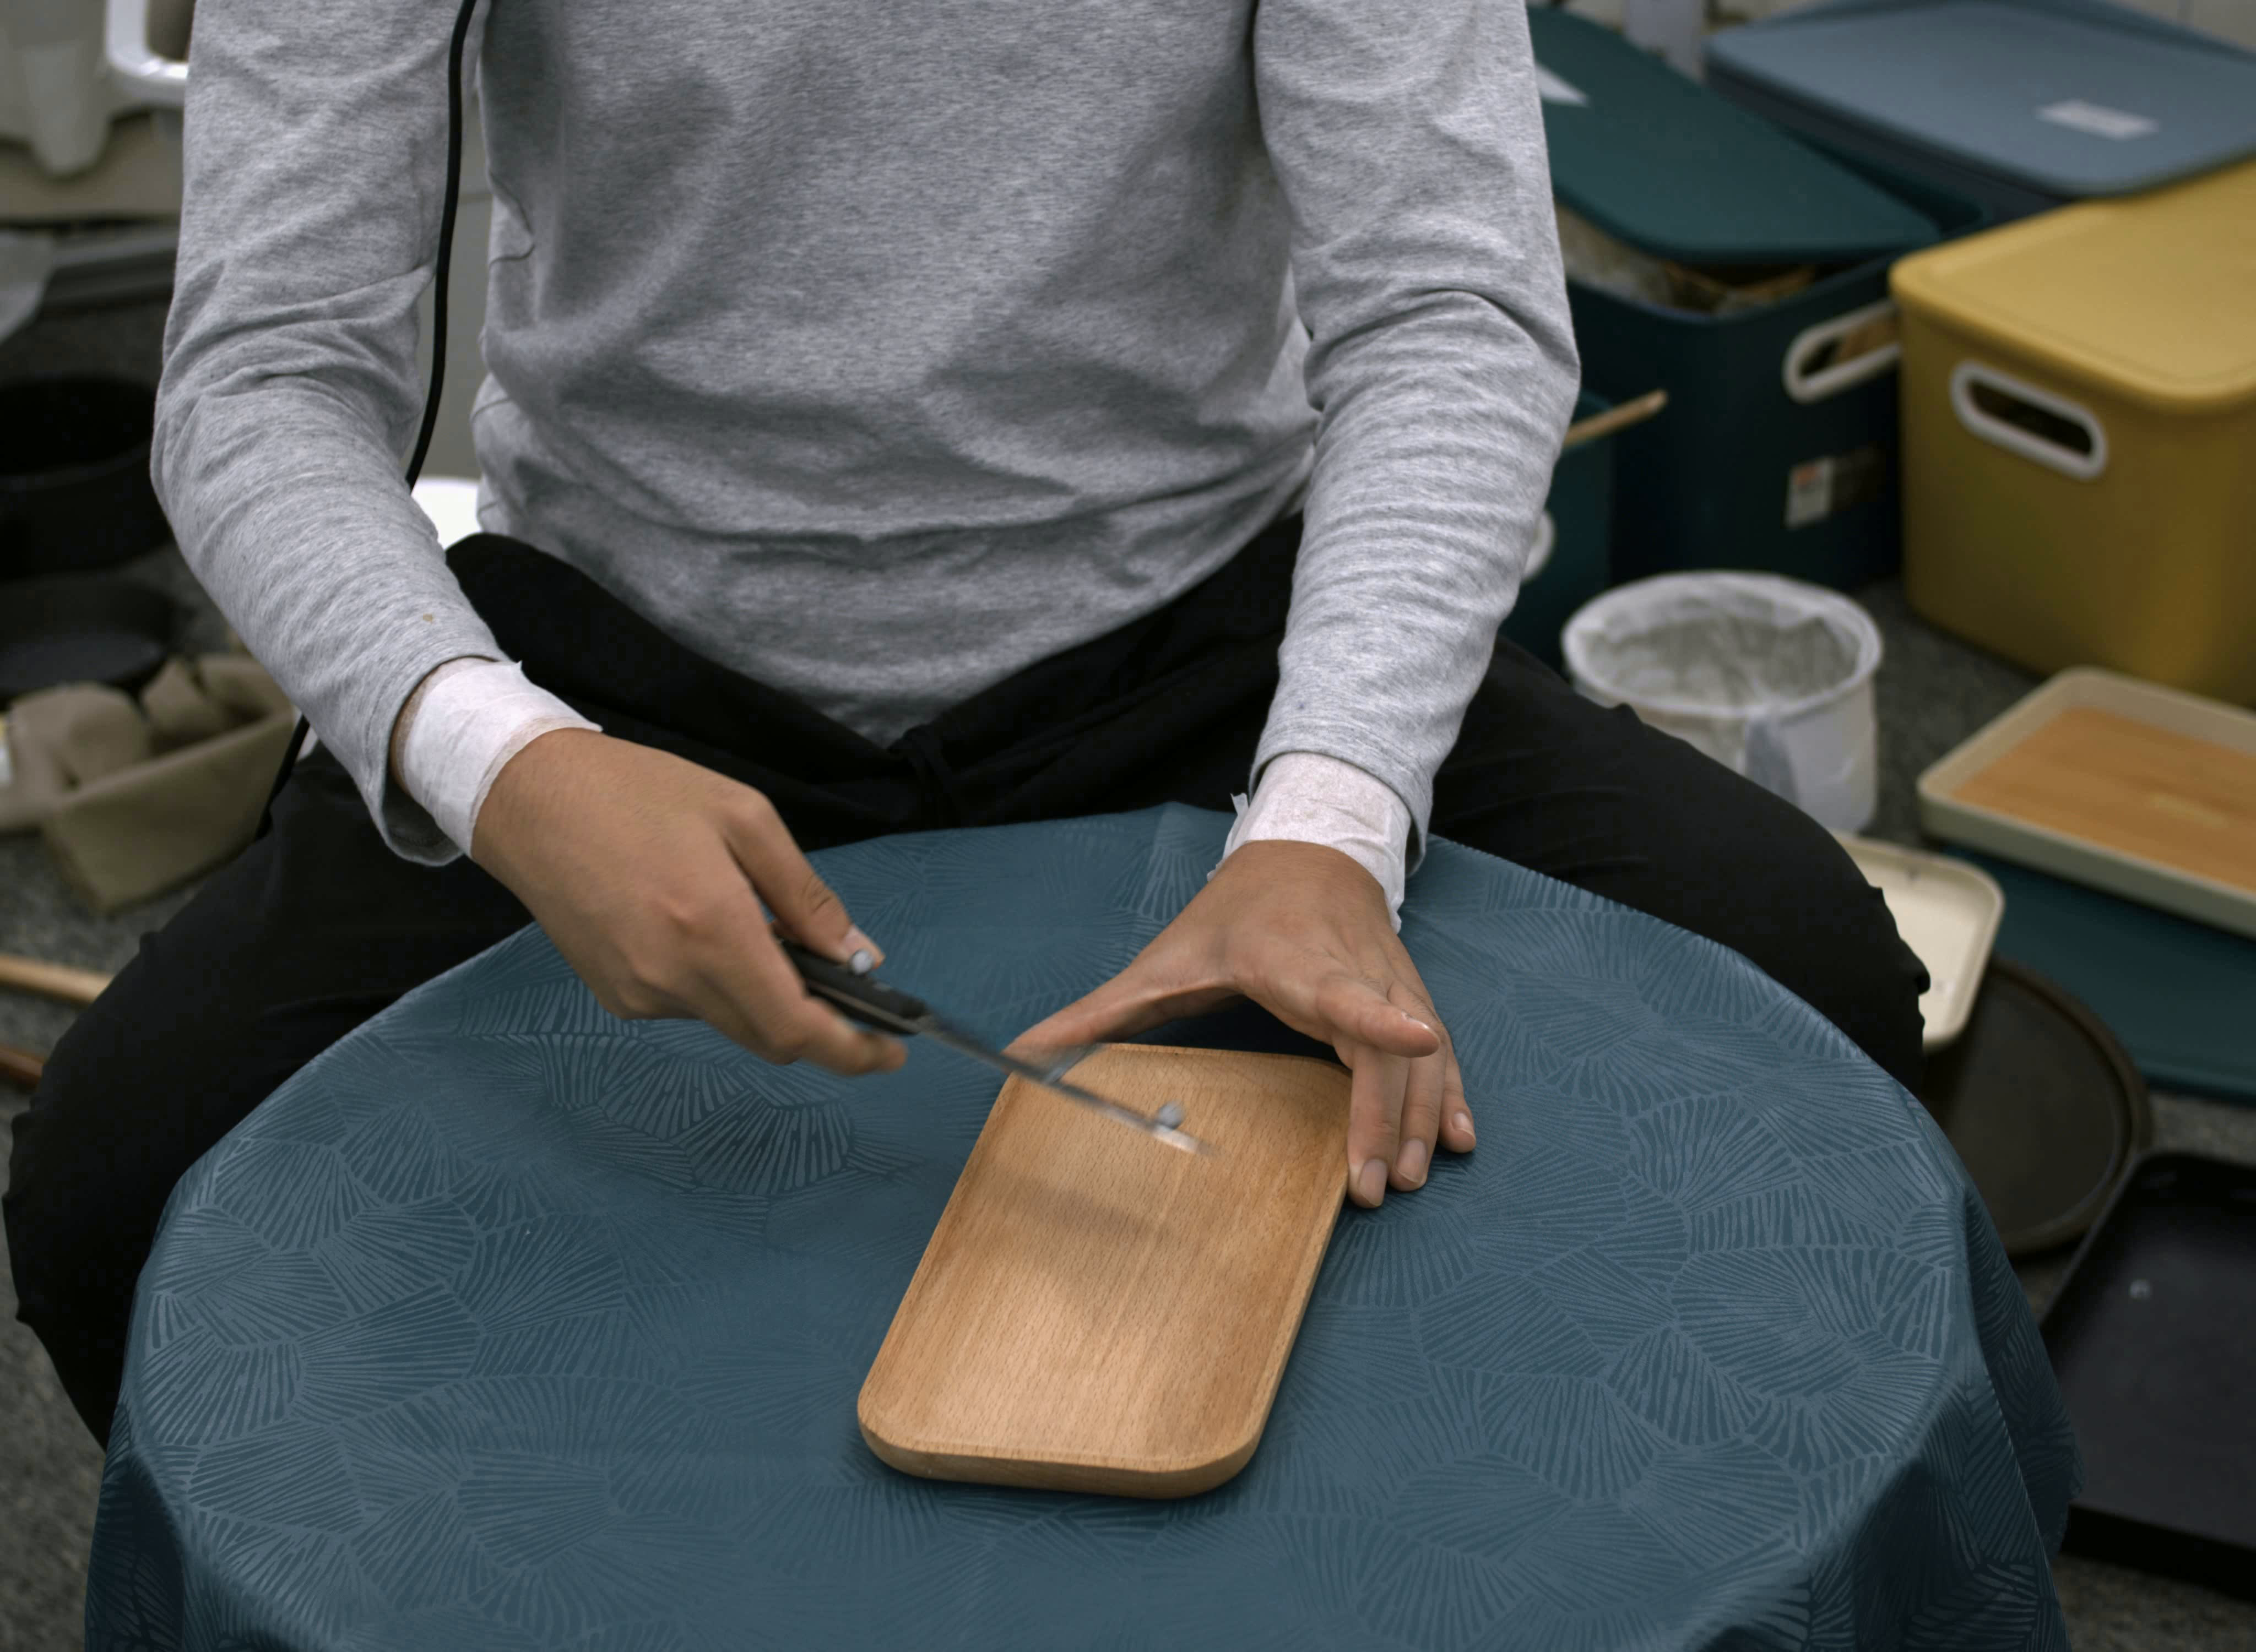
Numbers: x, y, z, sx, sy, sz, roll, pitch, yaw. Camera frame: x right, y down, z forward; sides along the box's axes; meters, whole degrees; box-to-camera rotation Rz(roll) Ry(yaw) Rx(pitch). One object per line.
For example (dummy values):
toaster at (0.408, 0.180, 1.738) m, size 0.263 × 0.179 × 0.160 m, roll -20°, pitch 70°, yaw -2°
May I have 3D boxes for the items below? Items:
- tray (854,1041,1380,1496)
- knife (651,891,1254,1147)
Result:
tray at (0.000, 0.139, 1.809) m, size 0.130 × 0.022 × 0.255 m, roll 7°, pitch 28°, yaw 12°
knife at (-0.062, 0.065, 1.849) m, size 0.237 × 0.016 × 0.024 m, roll 21°, pitch 8°, yaw 26°
